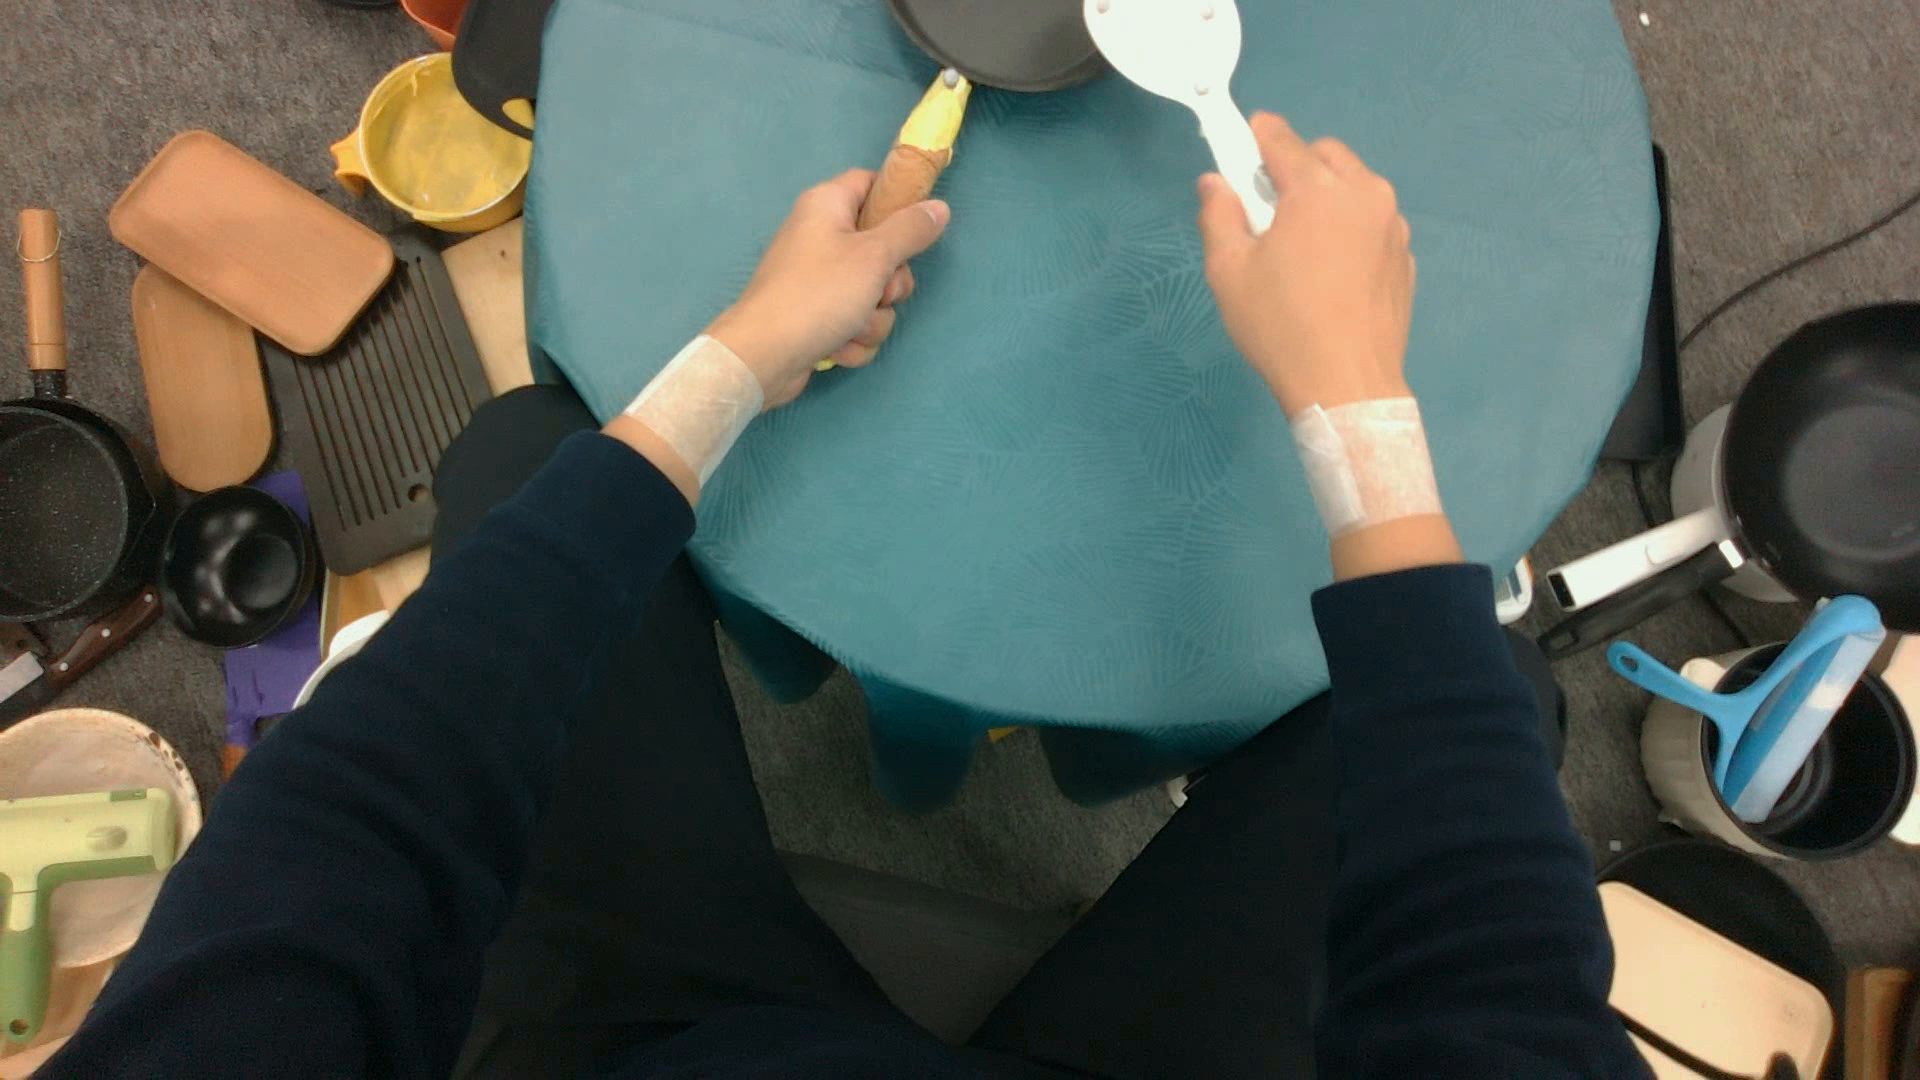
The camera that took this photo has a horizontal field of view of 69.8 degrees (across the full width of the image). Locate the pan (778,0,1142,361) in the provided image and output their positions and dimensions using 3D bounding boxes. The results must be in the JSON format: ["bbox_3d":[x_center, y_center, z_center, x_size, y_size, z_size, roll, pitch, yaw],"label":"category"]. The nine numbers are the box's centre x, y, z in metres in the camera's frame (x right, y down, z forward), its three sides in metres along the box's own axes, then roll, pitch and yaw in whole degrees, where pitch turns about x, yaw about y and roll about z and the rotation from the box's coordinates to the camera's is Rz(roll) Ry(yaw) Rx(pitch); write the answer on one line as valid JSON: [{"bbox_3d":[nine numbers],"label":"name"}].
[{"bbox_3d":[-0.019,-0.235,0.697,0.169,0.049,0.324,26,81,-7],"label":"pan"}]

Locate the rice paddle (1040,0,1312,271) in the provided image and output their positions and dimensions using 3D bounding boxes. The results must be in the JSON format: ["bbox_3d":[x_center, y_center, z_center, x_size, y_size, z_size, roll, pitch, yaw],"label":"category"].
[{"bbox_3d":[0.099,-0.210,0.644,0.069,0.029,0.206,-23,64,-5],"label":"rice paddle"}]
